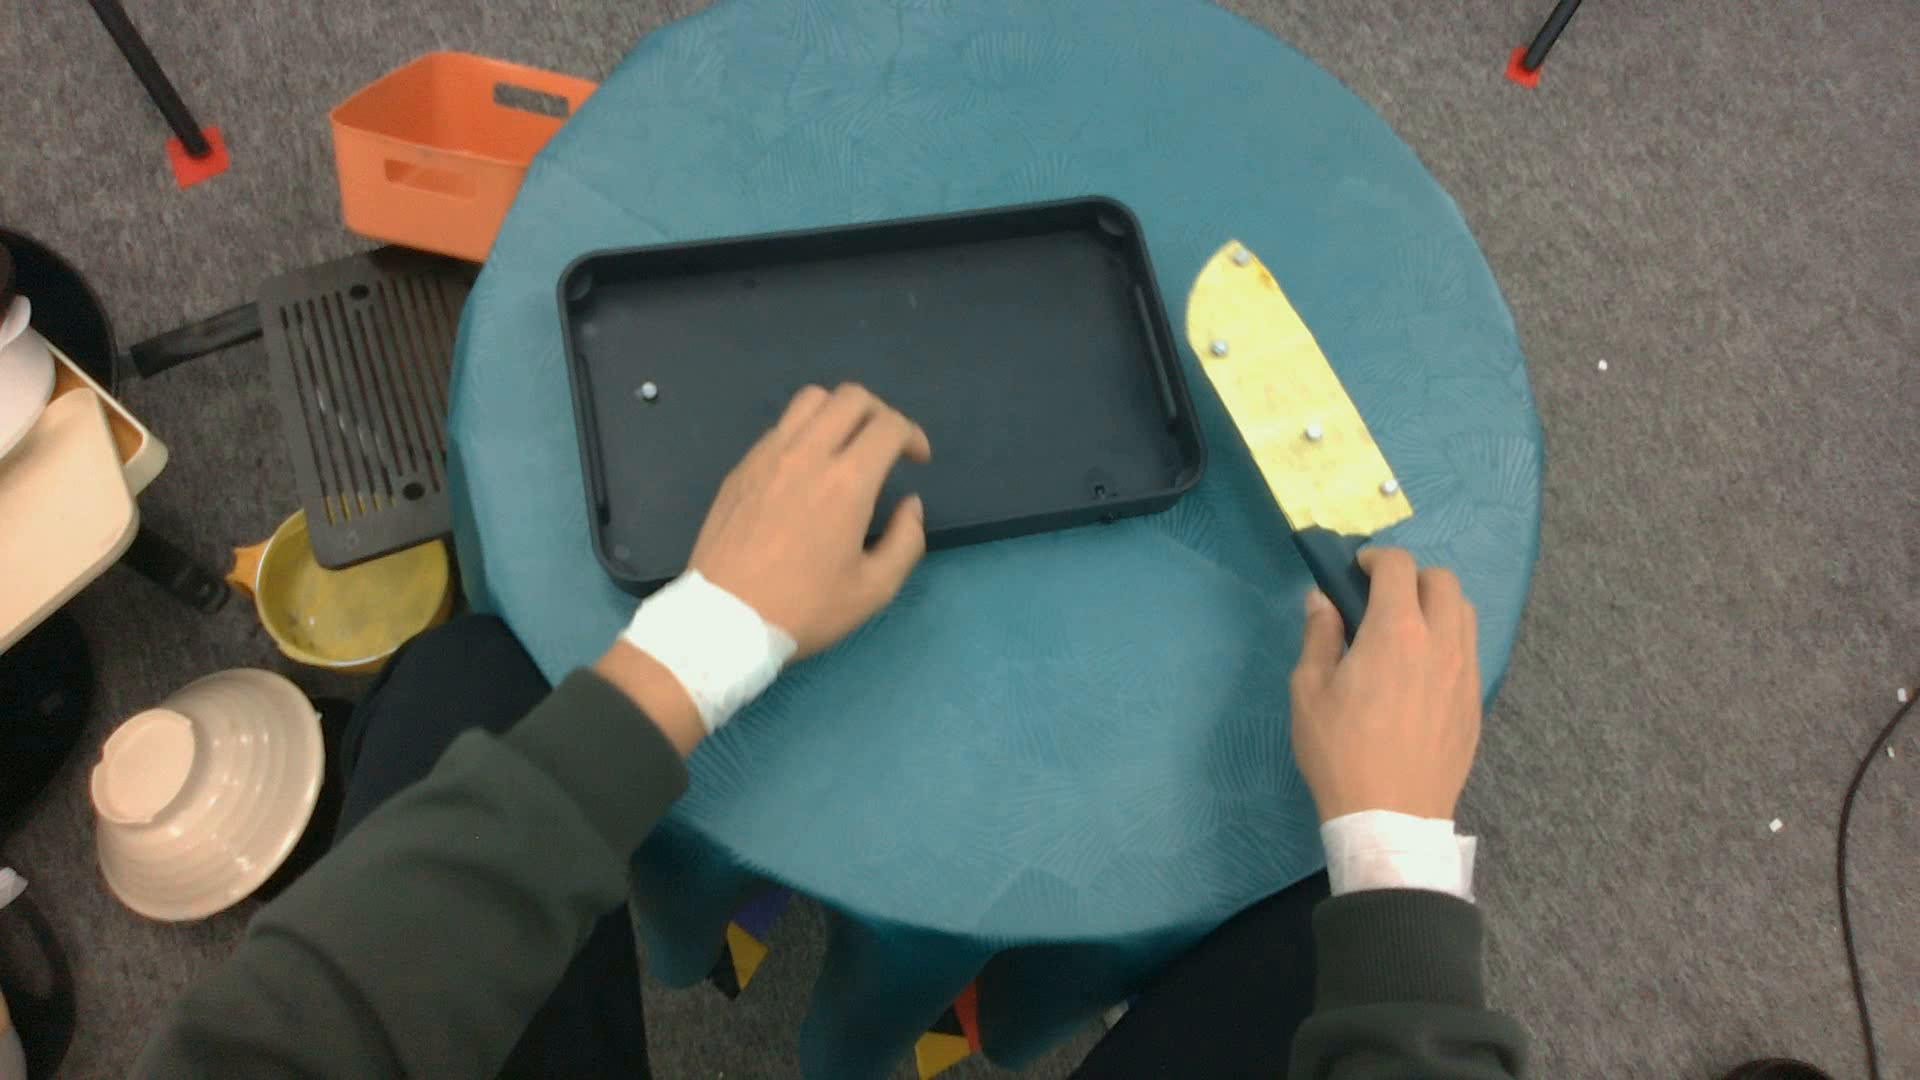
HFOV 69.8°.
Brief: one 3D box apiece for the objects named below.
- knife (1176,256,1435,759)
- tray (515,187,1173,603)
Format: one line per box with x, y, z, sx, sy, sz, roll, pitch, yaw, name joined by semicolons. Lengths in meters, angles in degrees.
0.186;-0.026;0.722;0.081;0.027;0.290;-14;74;-23;knife
-0.059;-0.083;0.730;0.318;0.037;0.184;-12;71;-14;tray
